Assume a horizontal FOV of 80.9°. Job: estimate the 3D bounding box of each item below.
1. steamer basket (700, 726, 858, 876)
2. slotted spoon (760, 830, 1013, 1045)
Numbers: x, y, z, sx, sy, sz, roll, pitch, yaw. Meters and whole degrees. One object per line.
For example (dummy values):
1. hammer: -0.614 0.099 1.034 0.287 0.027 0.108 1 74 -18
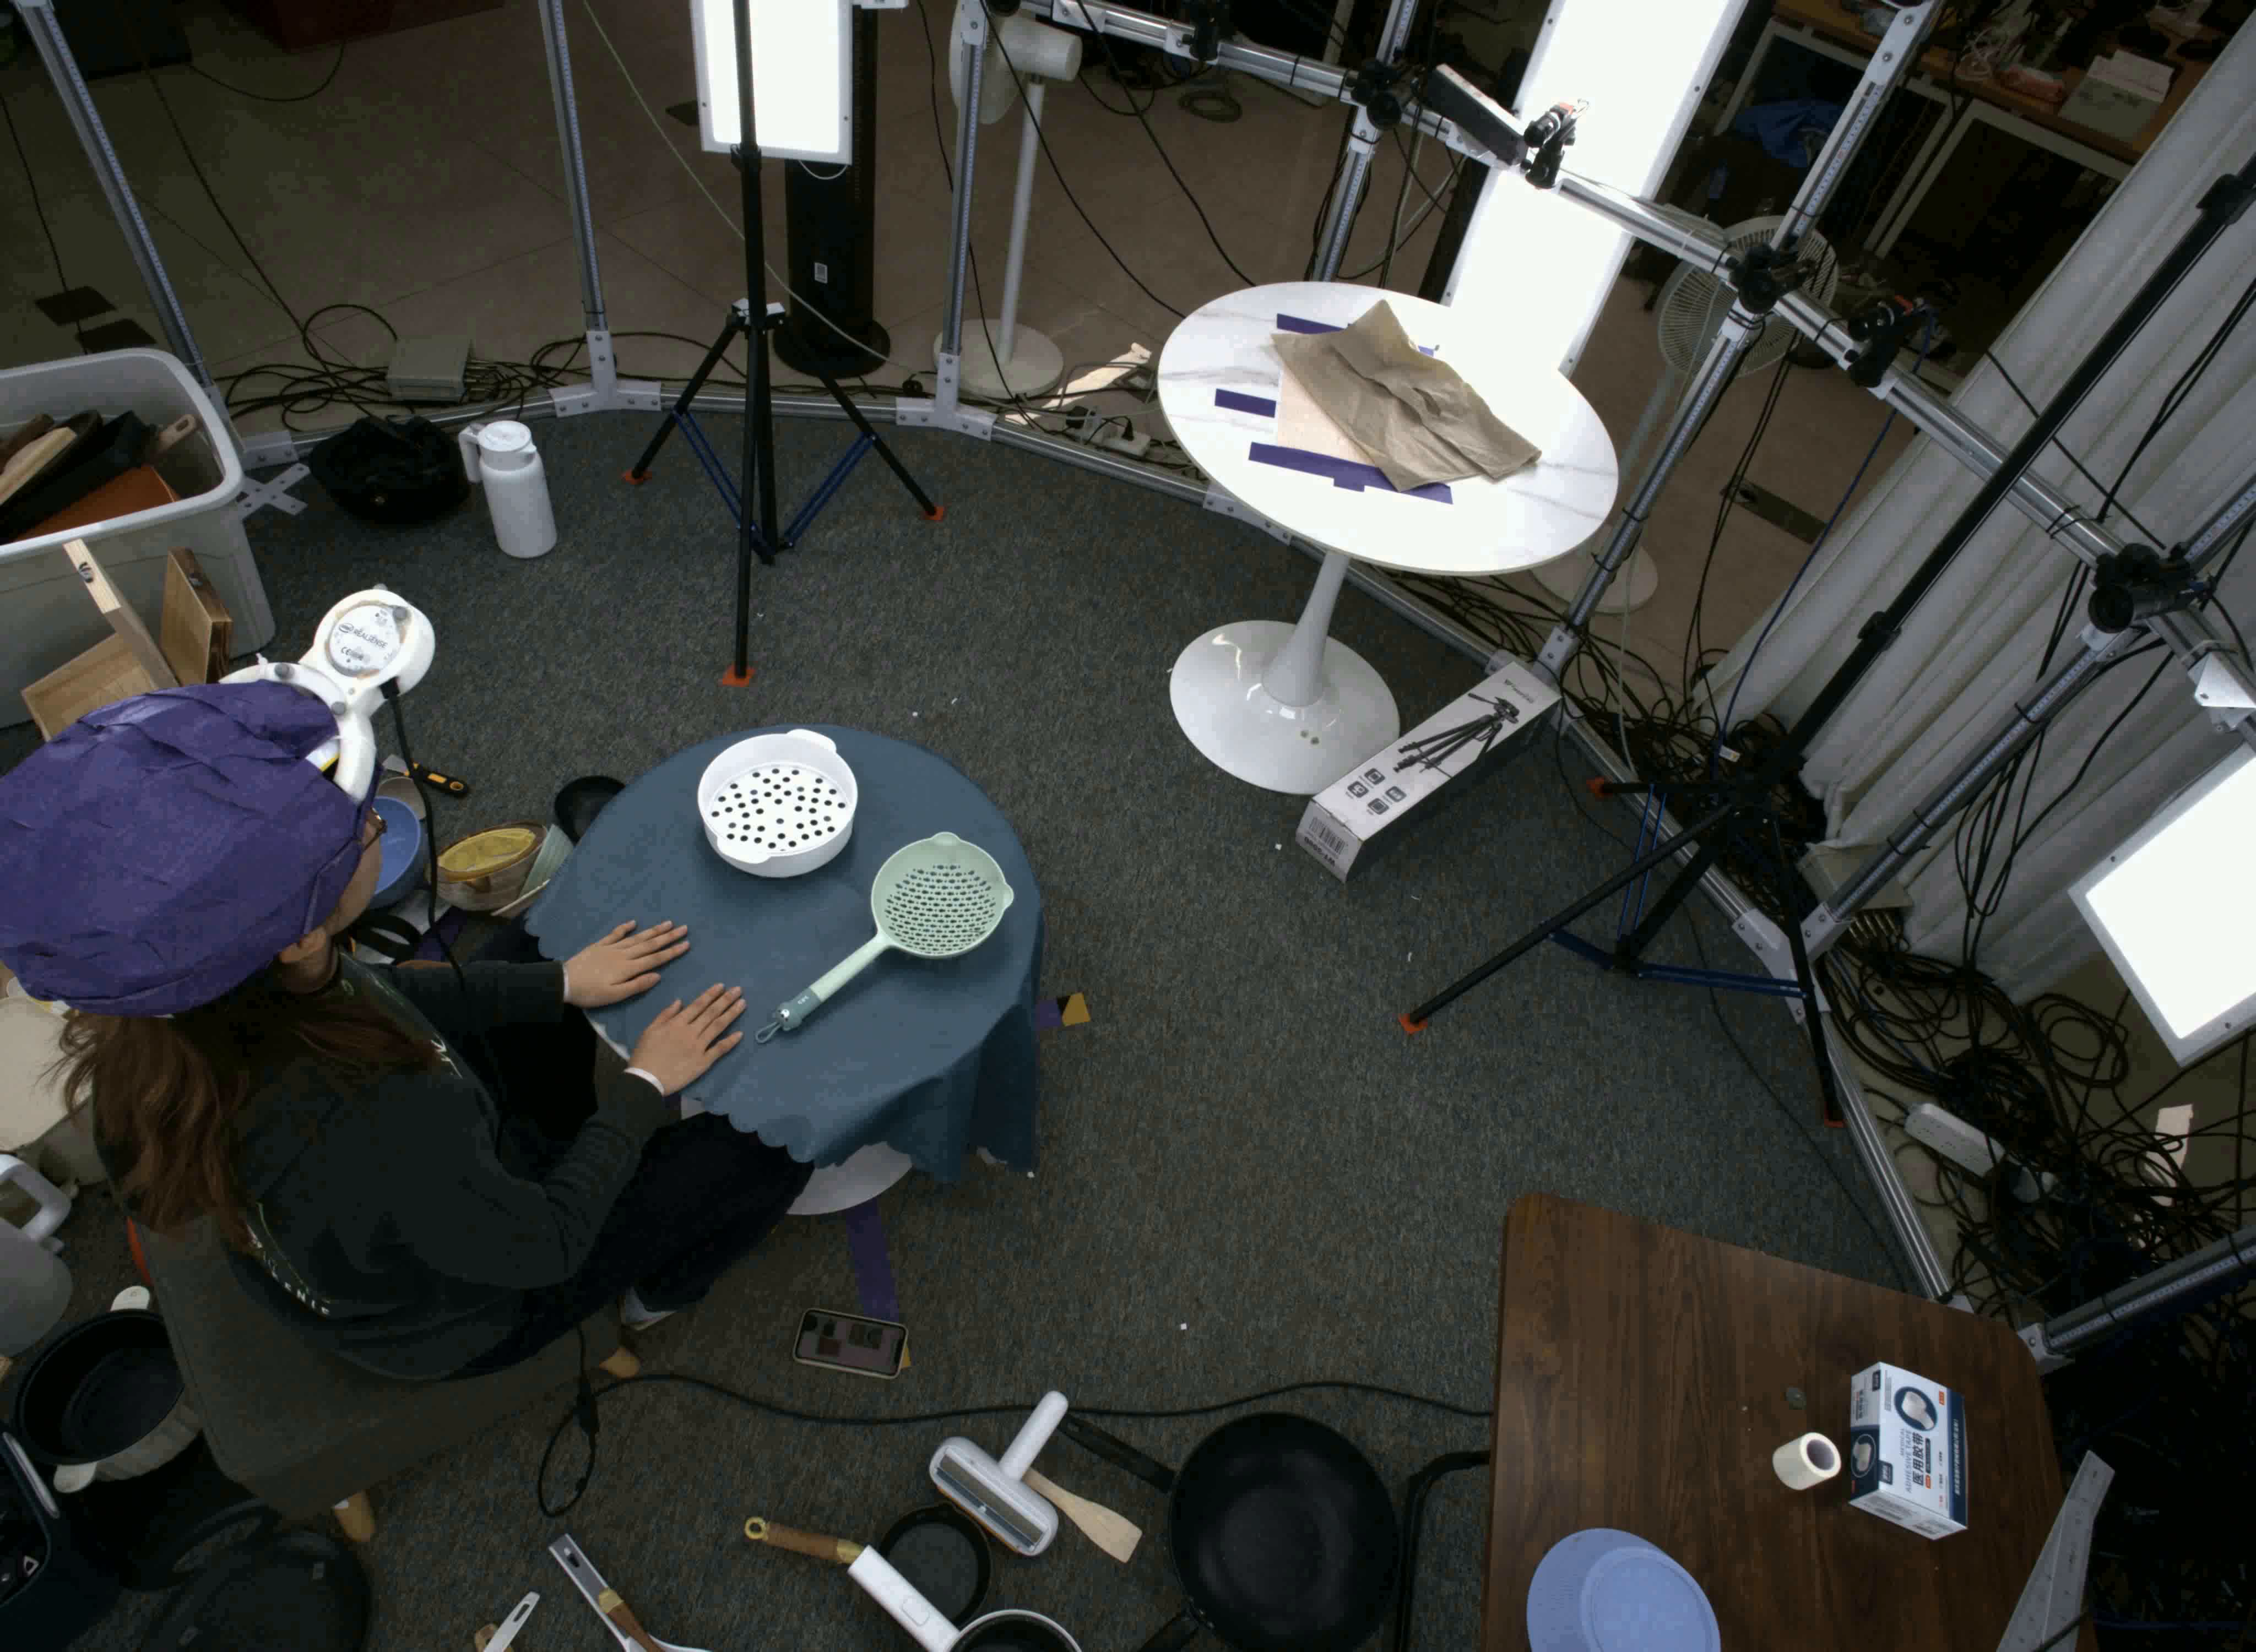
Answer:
1. steamer basket: -0.456 -0.028 1.701 0.200 0.071 0.228 18 52 1
2. slotted spoon: -0.307 0.146 1.609 0.165 0.077 0.359 42 55 18
